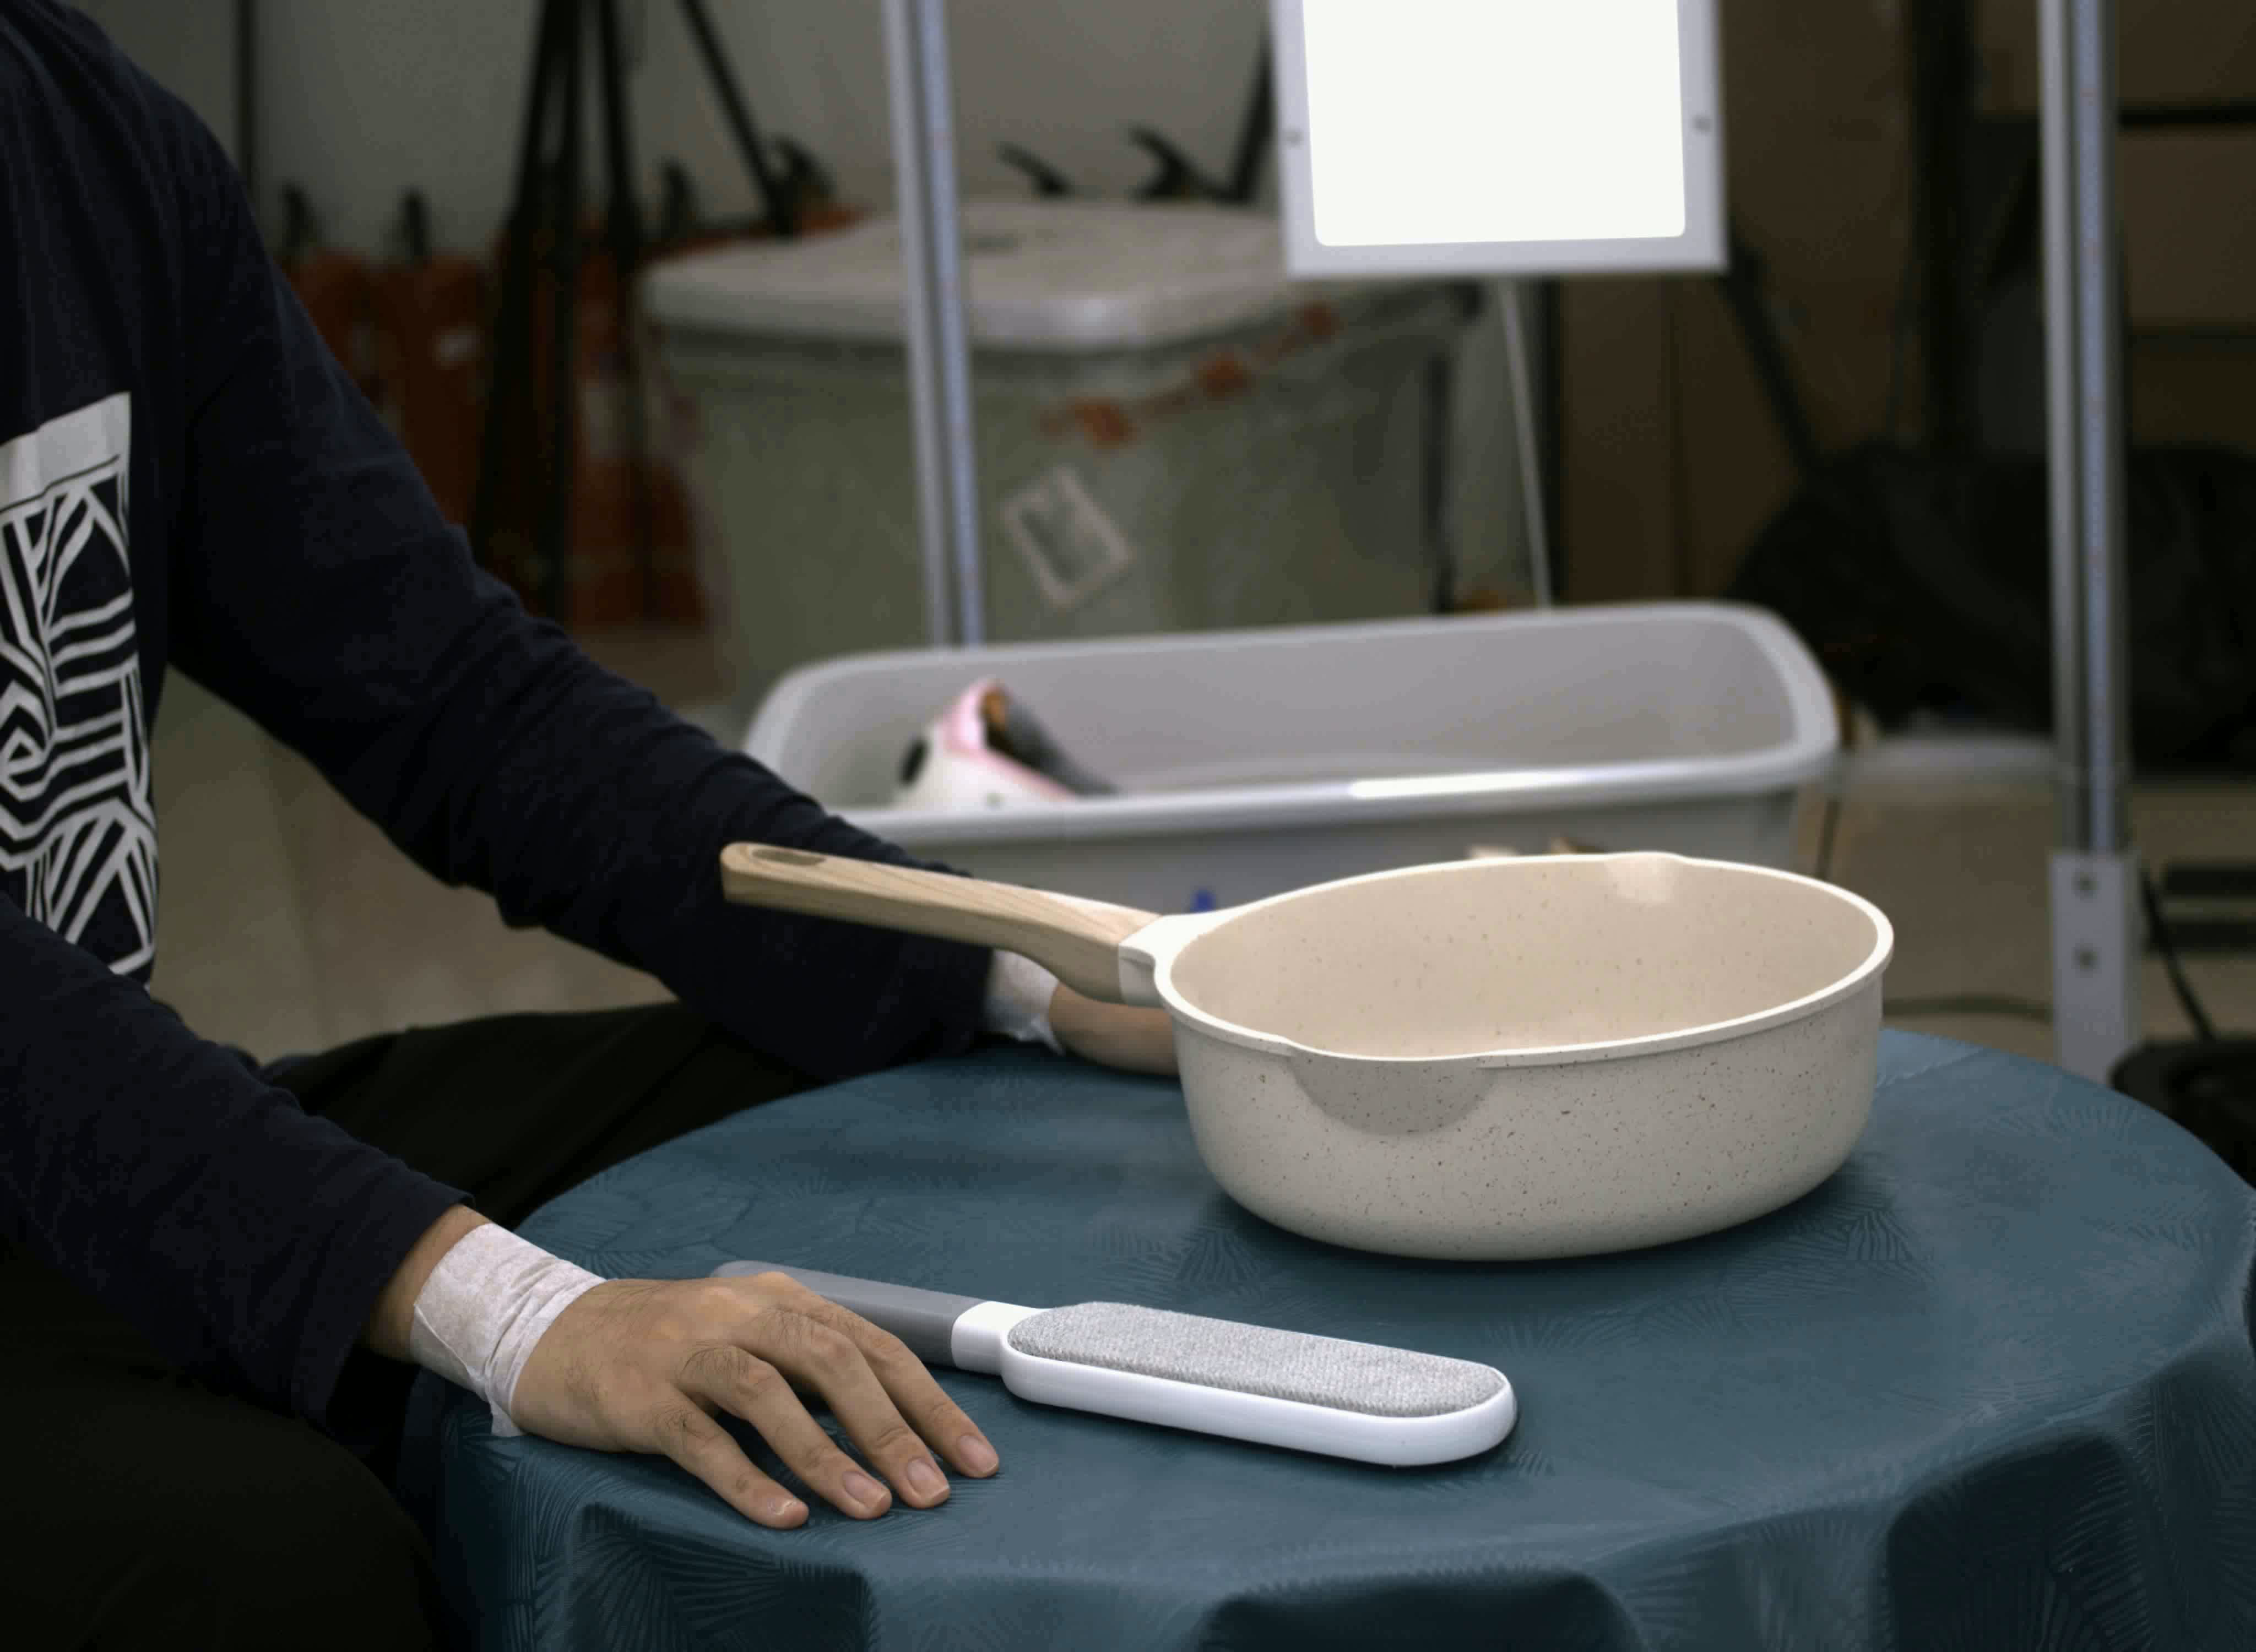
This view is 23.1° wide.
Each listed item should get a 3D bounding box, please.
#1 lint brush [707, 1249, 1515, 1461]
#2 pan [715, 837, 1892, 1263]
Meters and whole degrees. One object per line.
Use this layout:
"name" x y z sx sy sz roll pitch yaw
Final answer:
"lint brush" -0.012 0.160 1.711 0.315 0.021 0.058 6 22 39
"pan" 0.054 0.068 1.915 0.442 0.102 0.258 2 17 27
